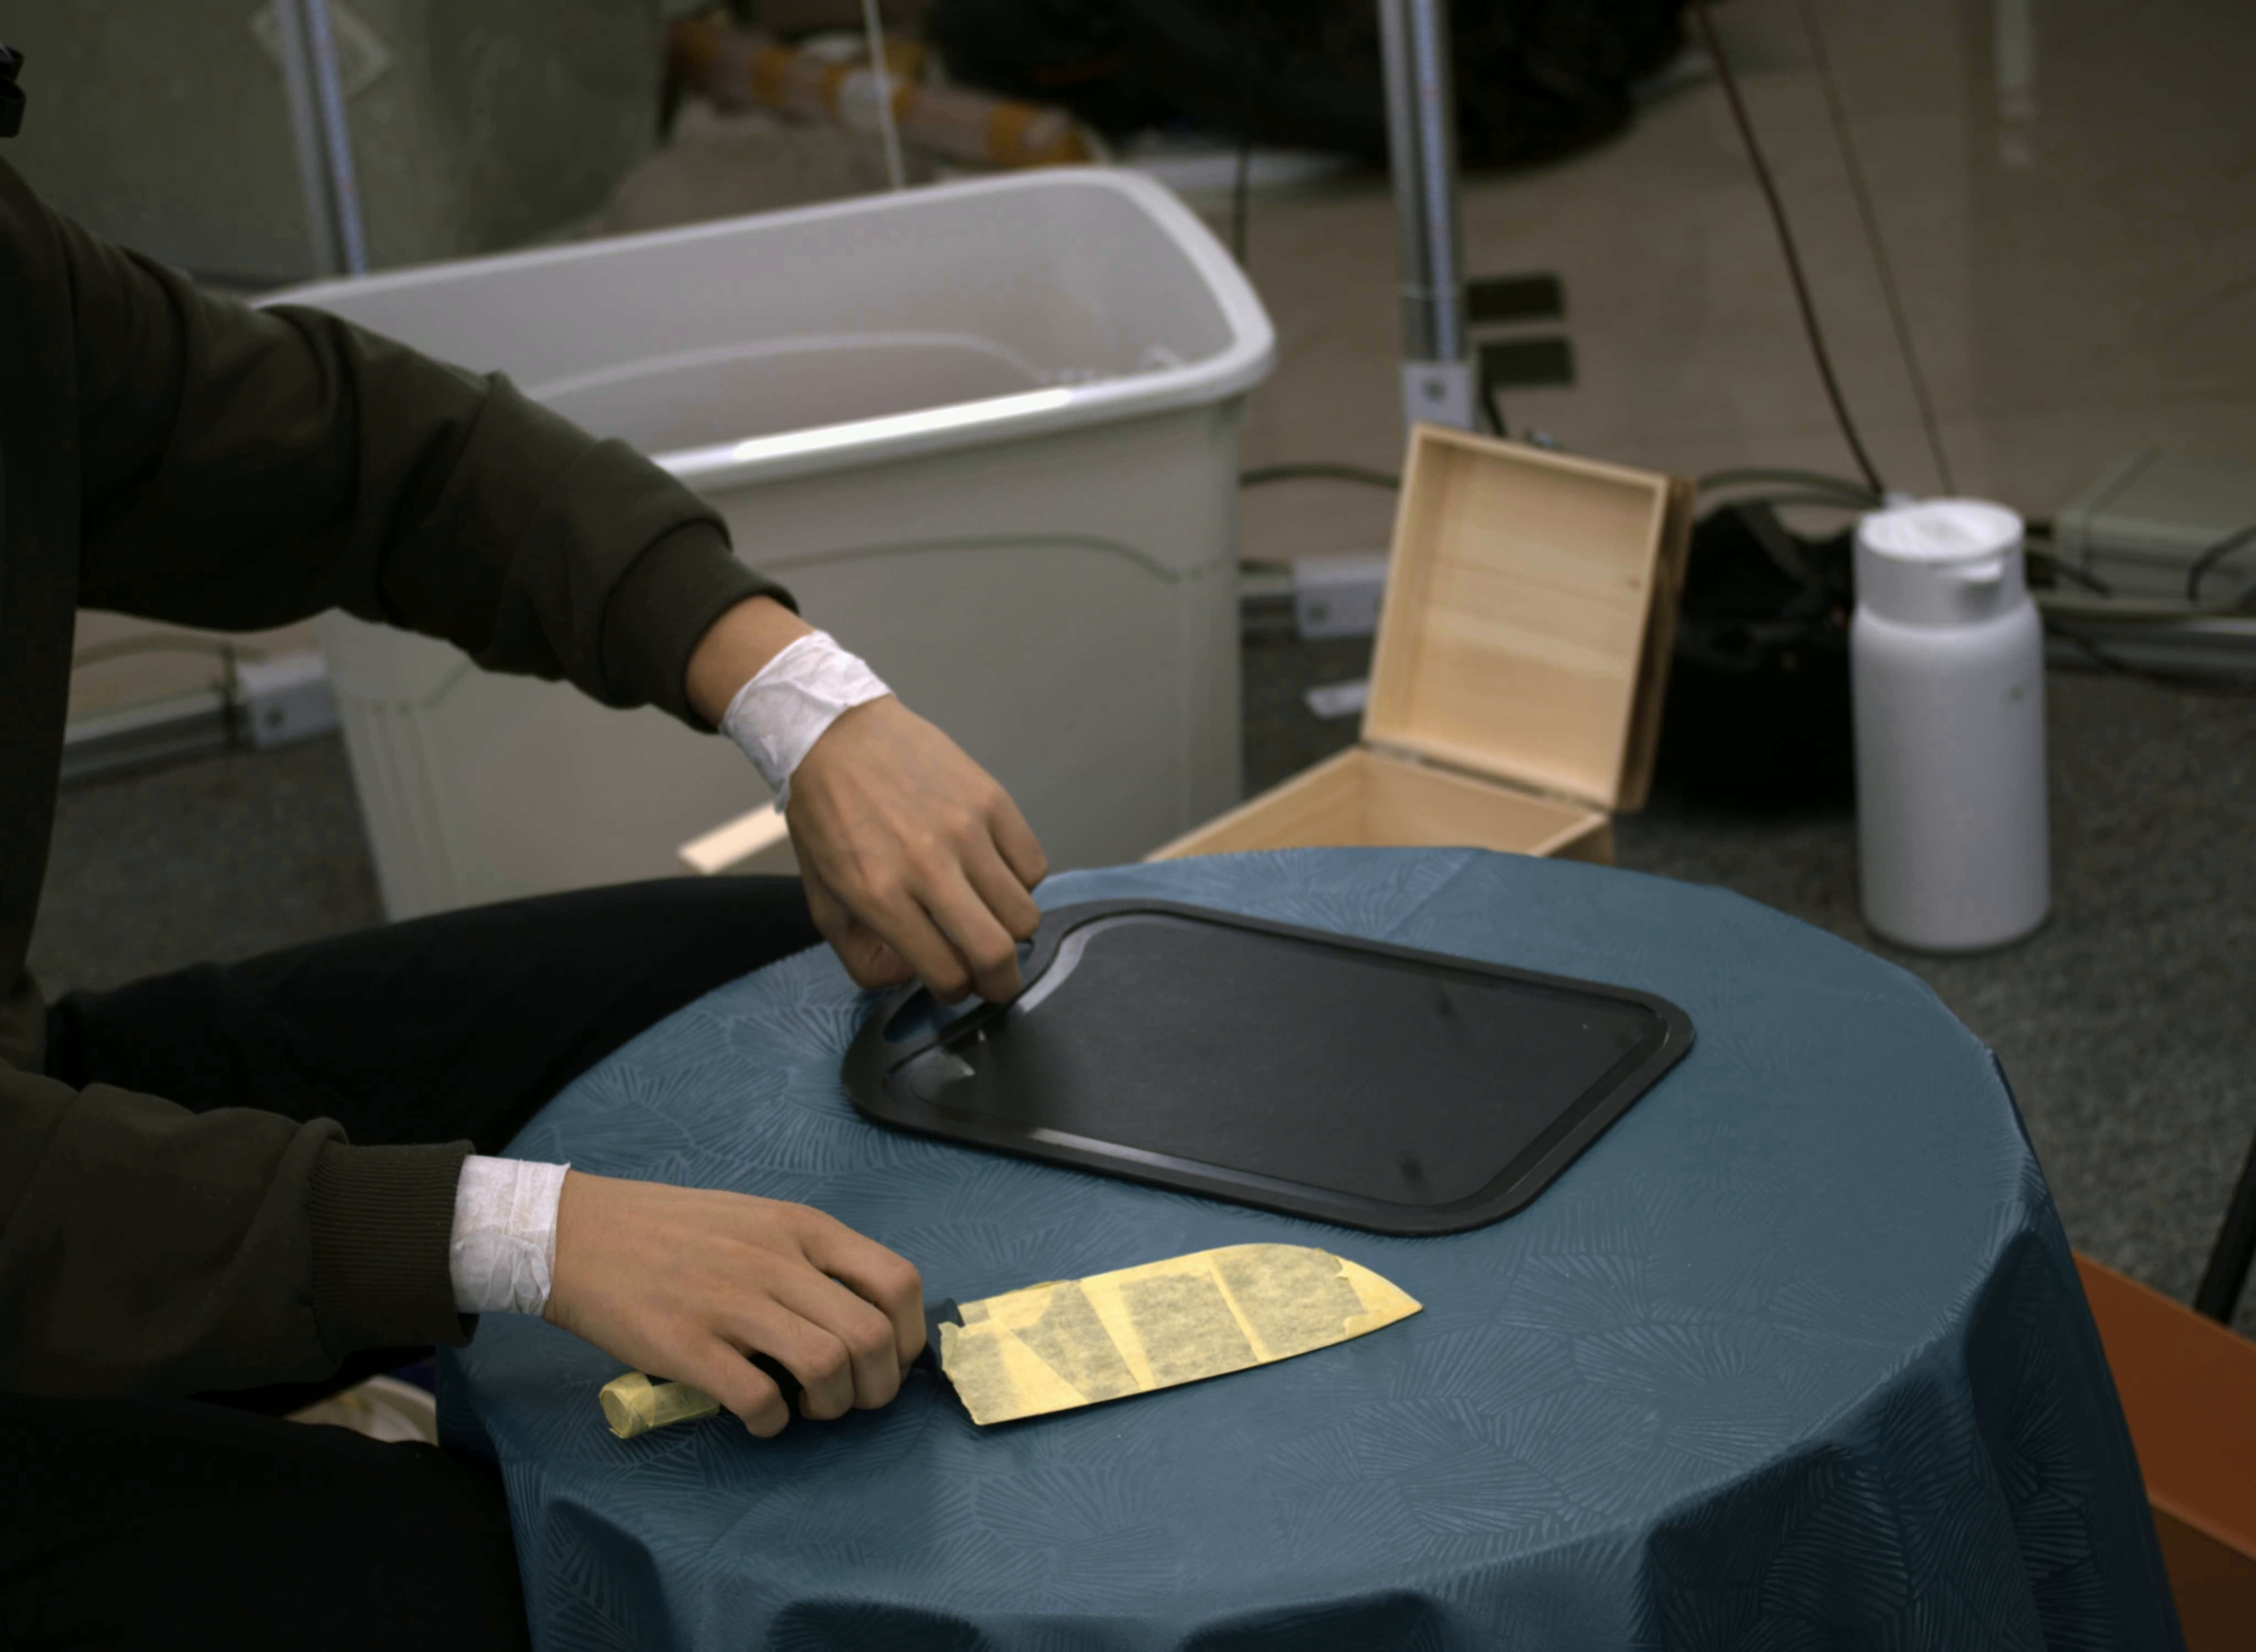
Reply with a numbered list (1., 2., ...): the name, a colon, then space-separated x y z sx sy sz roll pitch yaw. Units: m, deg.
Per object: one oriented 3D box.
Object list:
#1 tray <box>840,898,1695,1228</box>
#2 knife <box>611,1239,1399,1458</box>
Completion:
1. tray: 0.046 0.088 2.237 0.324 0.010 0.209 11 30 31
2. knife: -0.041 0.190 2.035 0.289 0.028 0.080 -11 30 -10
